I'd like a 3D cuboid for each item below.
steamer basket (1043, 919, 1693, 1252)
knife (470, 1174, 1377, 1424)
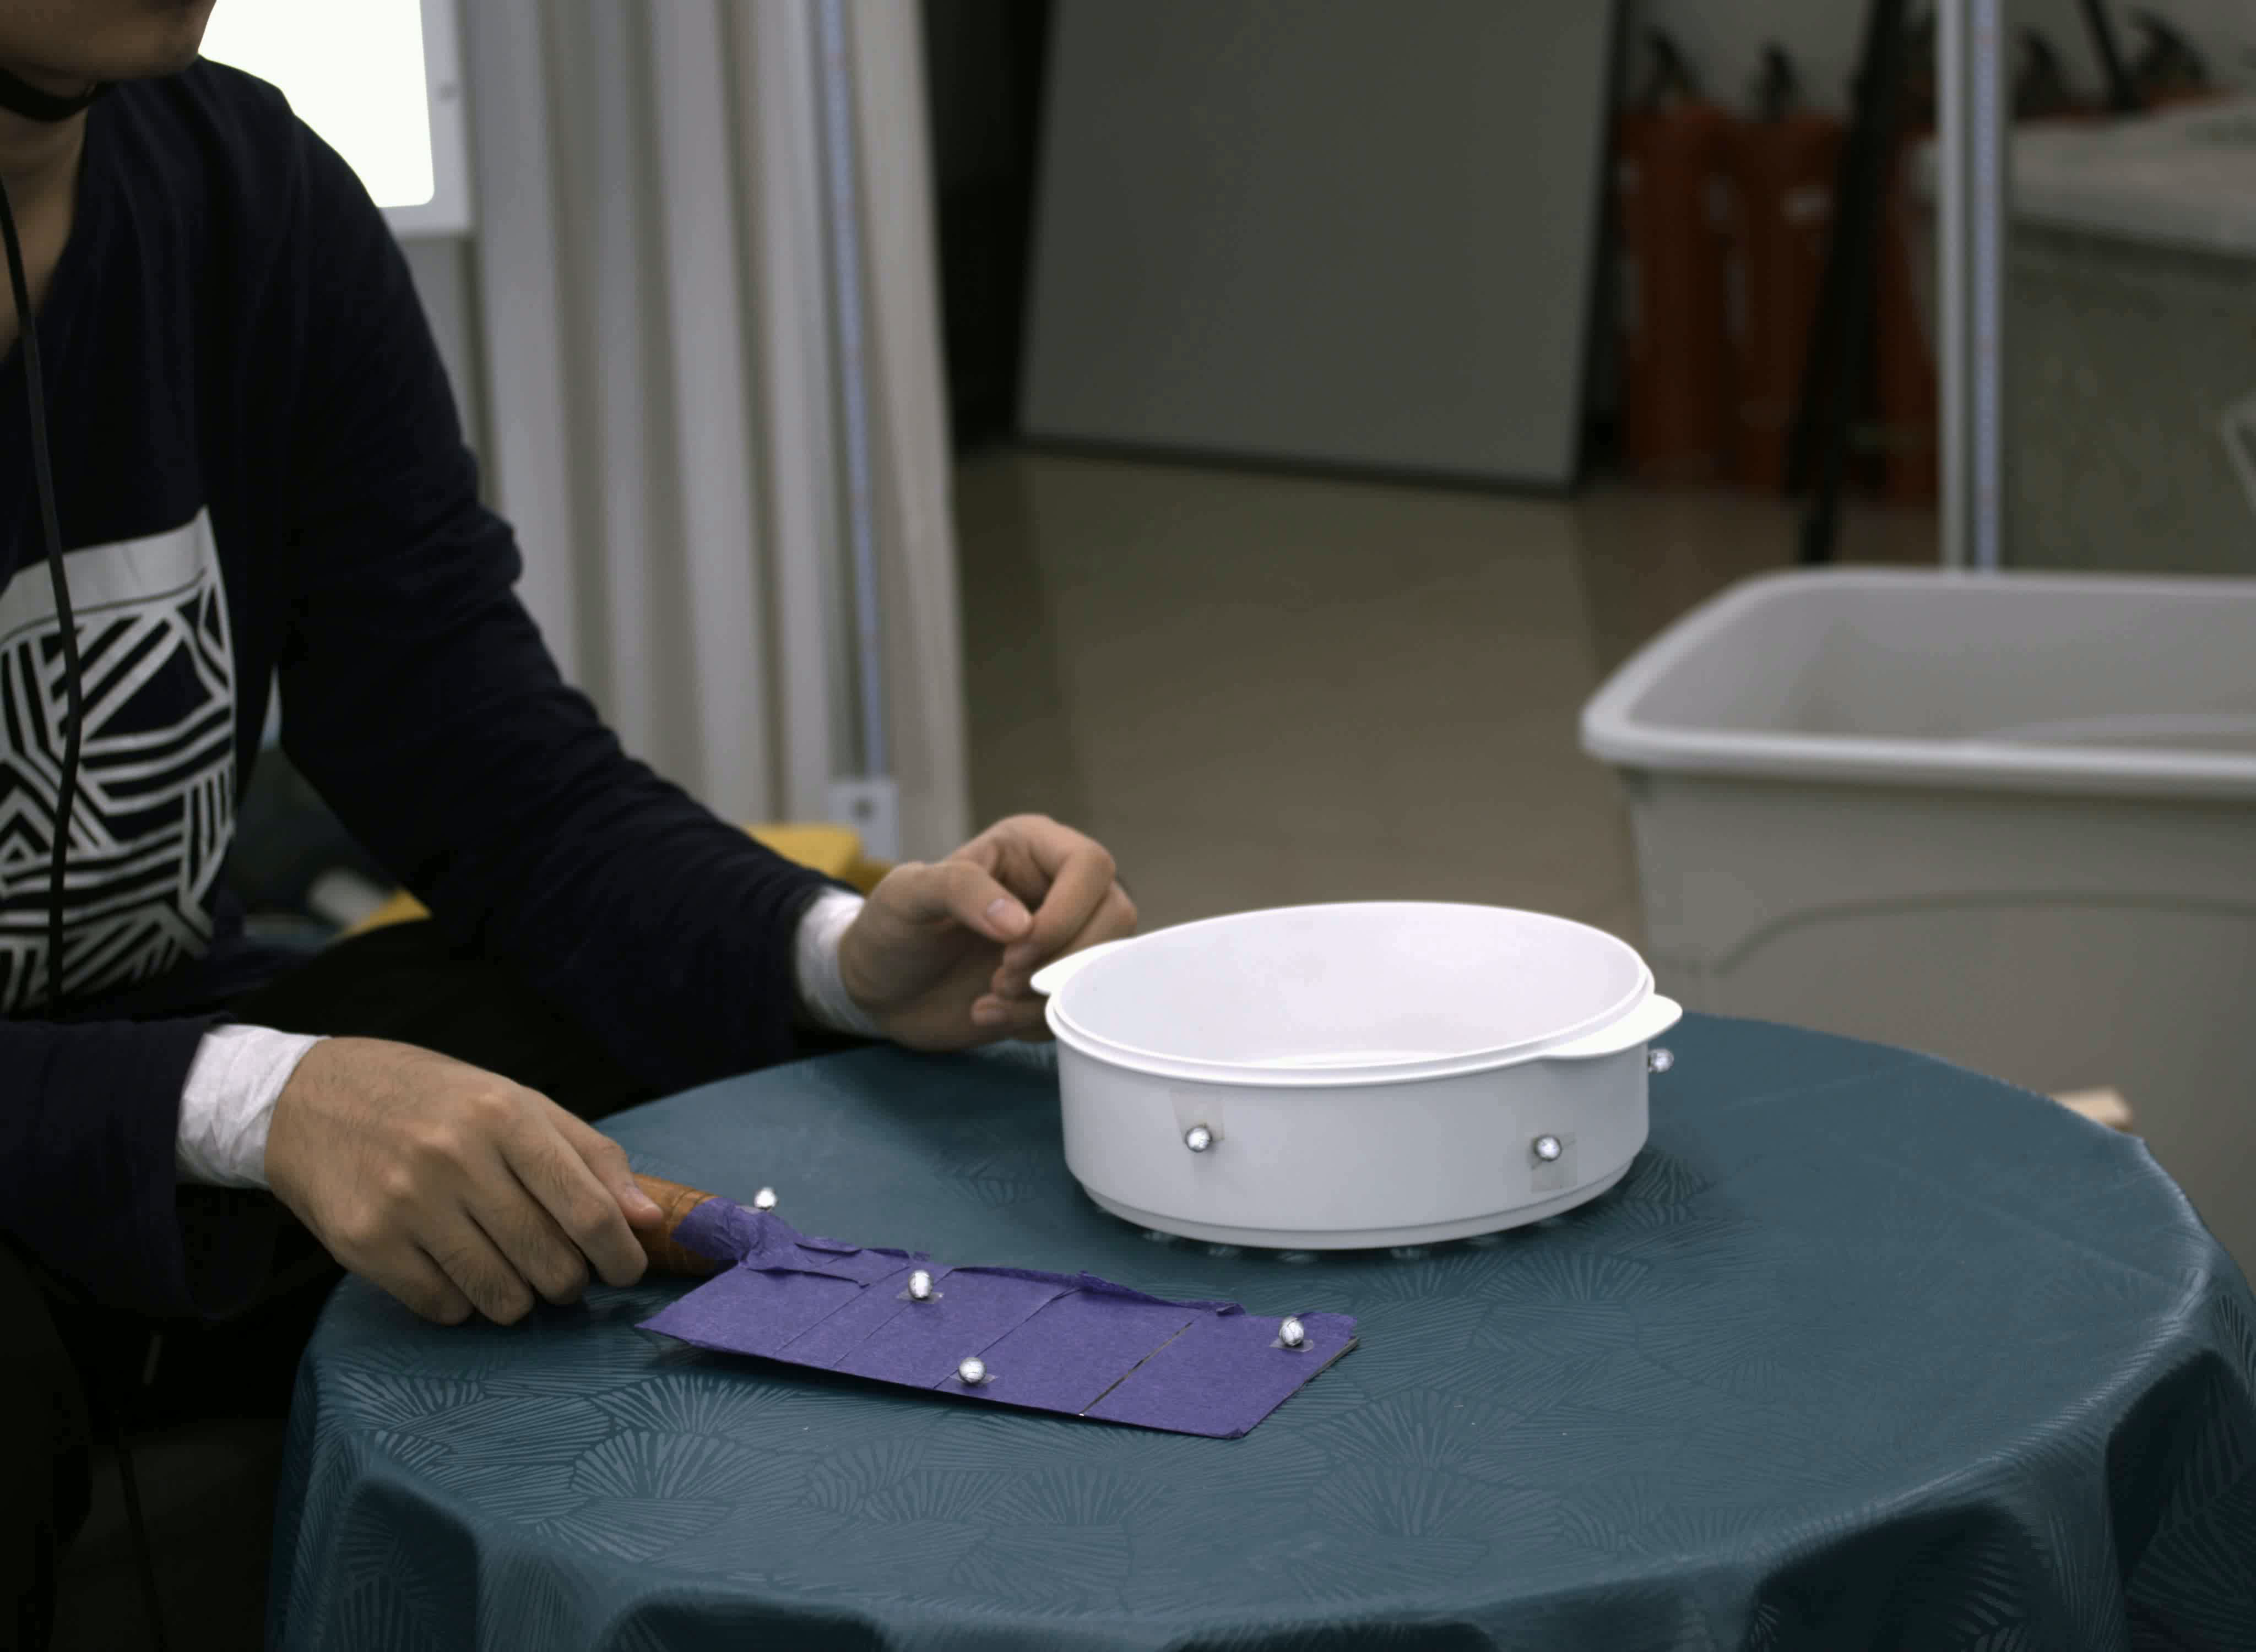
[{"bbox_3d":[0.078,0.085,1.765,0.232,0.070,0.198,2,13,35],"label":"steamer basket"},{"bbox_3d":[-0.082,0.144,1.650,0.316,0.032,0.102,4,15,29],"label":"knife"}]
